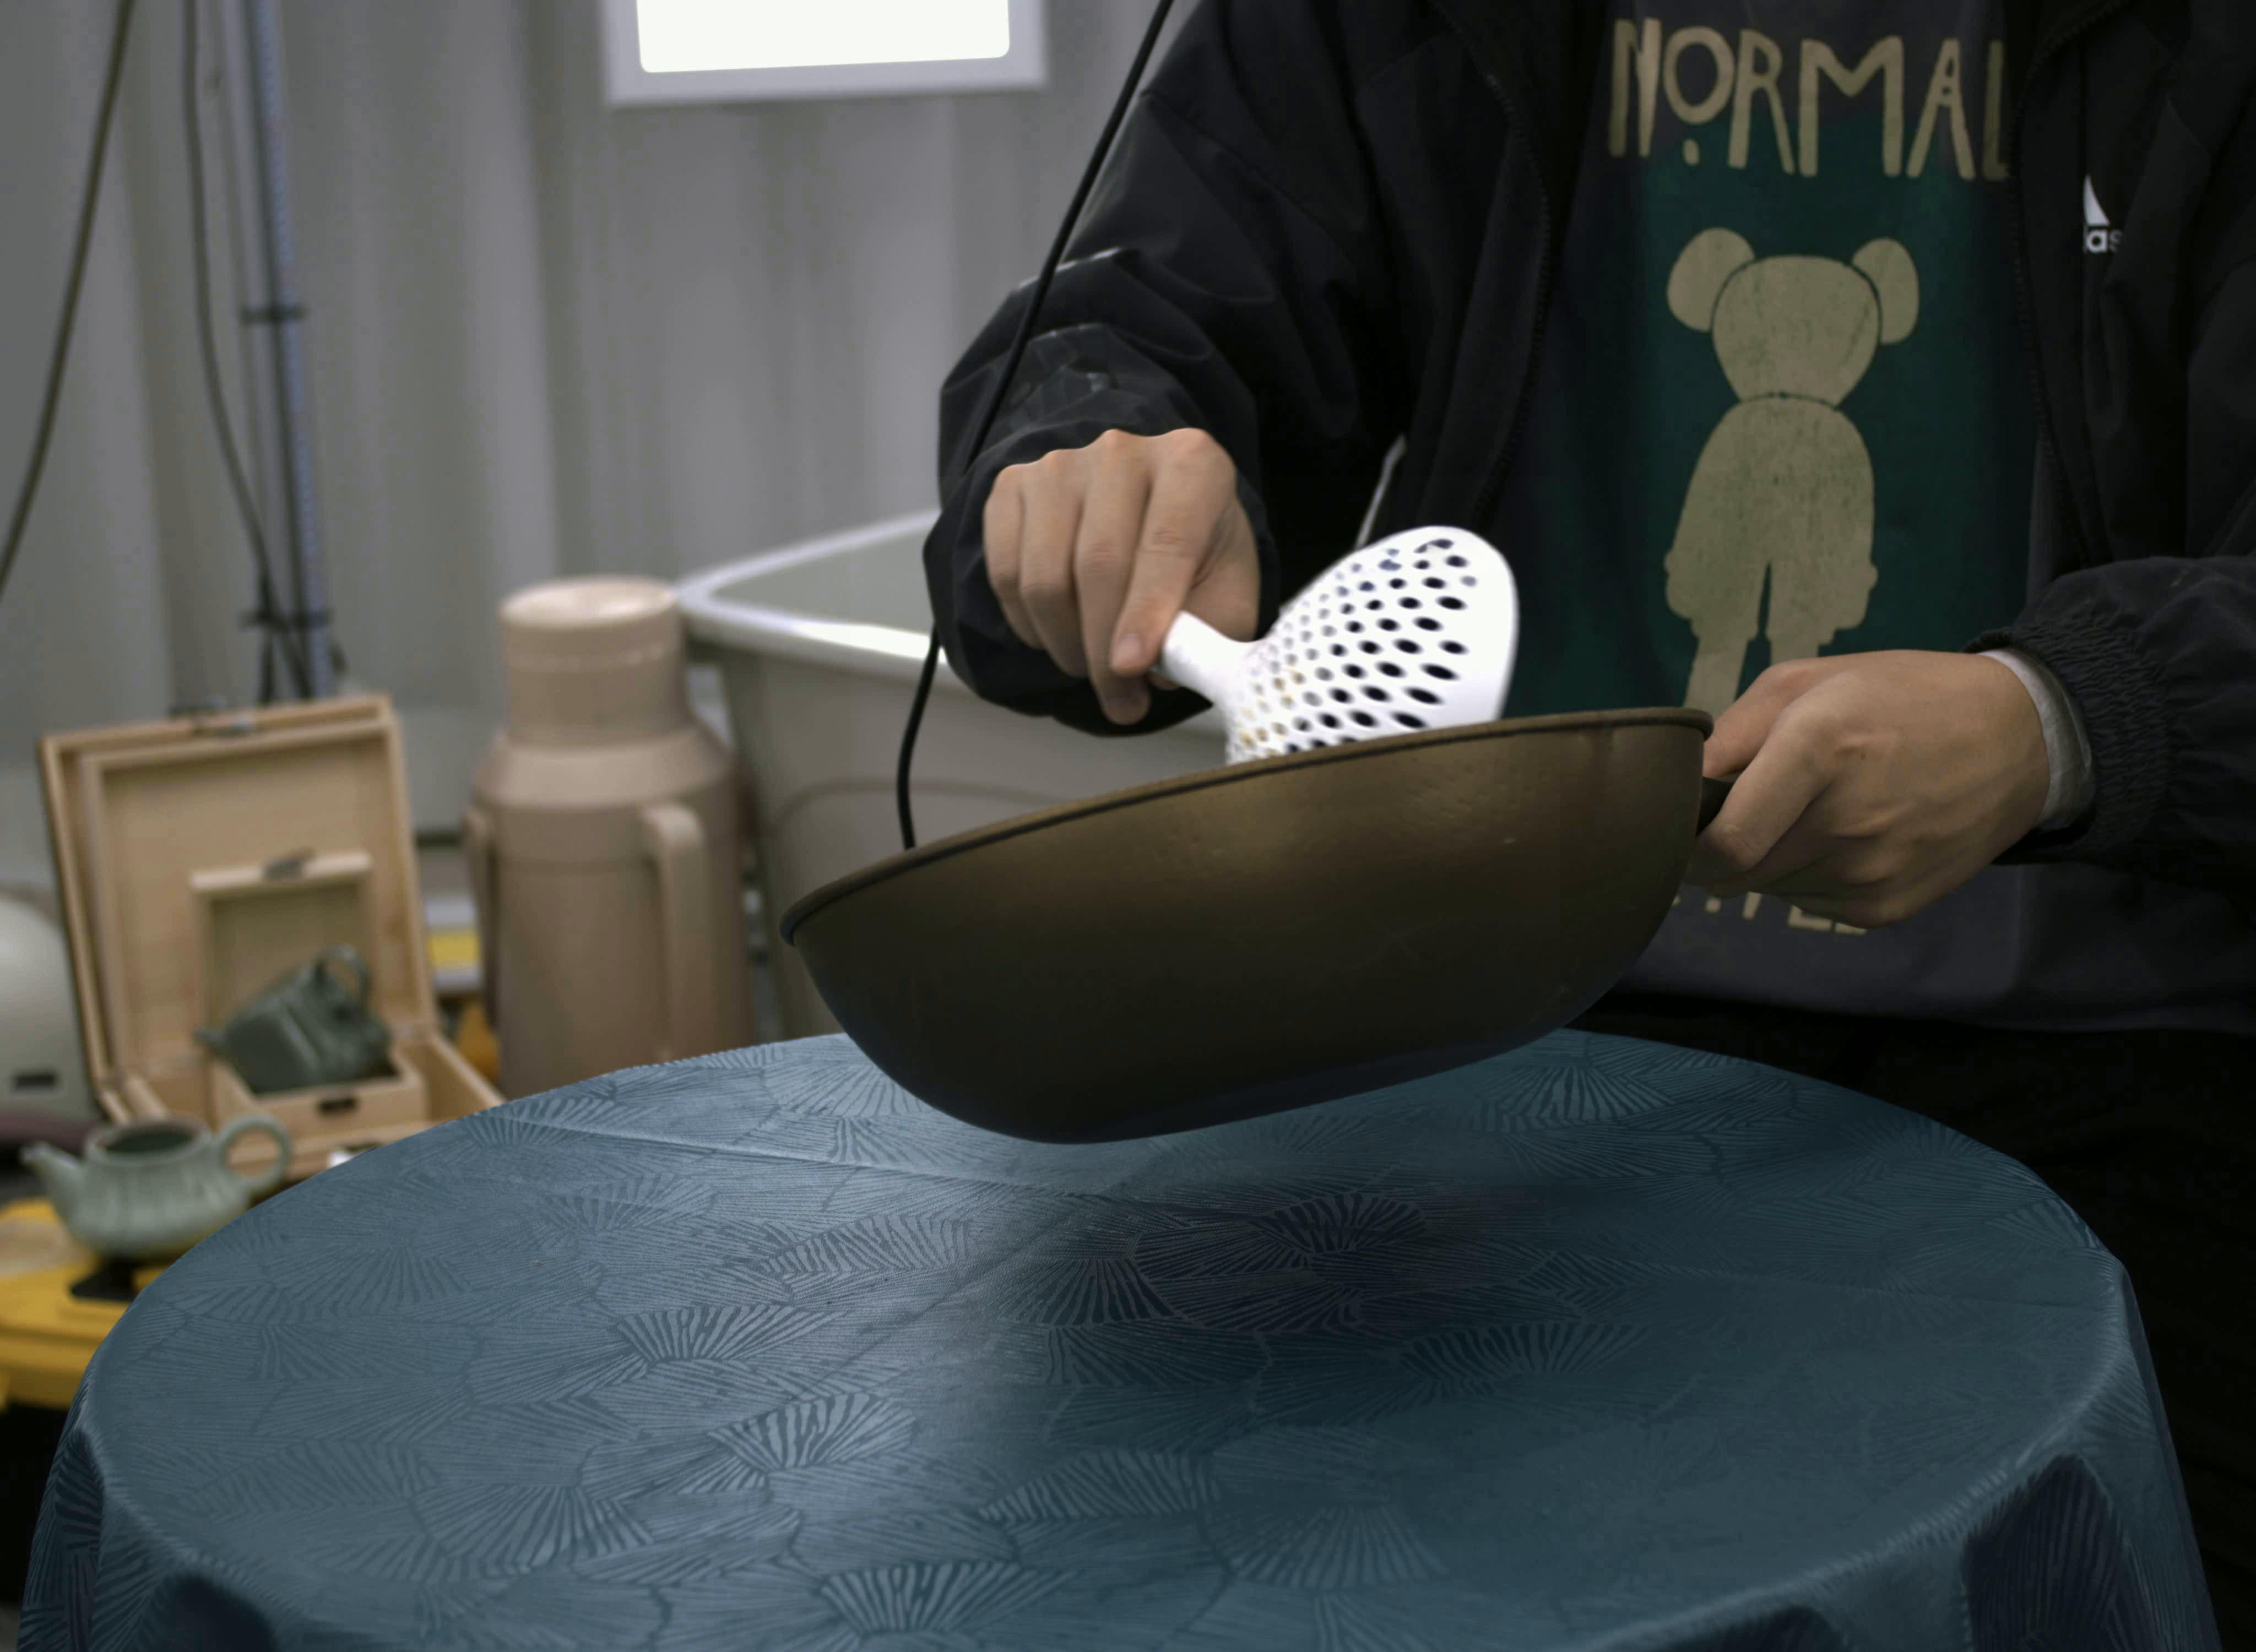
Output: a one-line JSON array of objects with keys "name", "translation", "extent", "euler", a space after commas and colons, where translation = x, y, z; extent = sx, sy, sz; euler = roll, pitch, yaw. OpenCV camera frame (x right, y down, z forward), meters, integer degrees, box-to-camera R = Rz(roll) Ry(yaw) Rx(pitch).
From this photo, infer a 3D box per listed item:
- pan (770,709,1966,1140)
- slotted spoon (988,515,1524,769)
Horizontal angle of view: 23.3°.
[{"name": "pan", "translation": [0.105, 0.031, 1.657], "extent": [0.461, 0.087, 0.287], "euler": [-4, -10, -44]}, {"name": "slotted spoon", "translation": [0.027, -0.048, 1.678], "extent": [0.050, 0.137, 0.350], "euler": [15, 6, -20]}]
